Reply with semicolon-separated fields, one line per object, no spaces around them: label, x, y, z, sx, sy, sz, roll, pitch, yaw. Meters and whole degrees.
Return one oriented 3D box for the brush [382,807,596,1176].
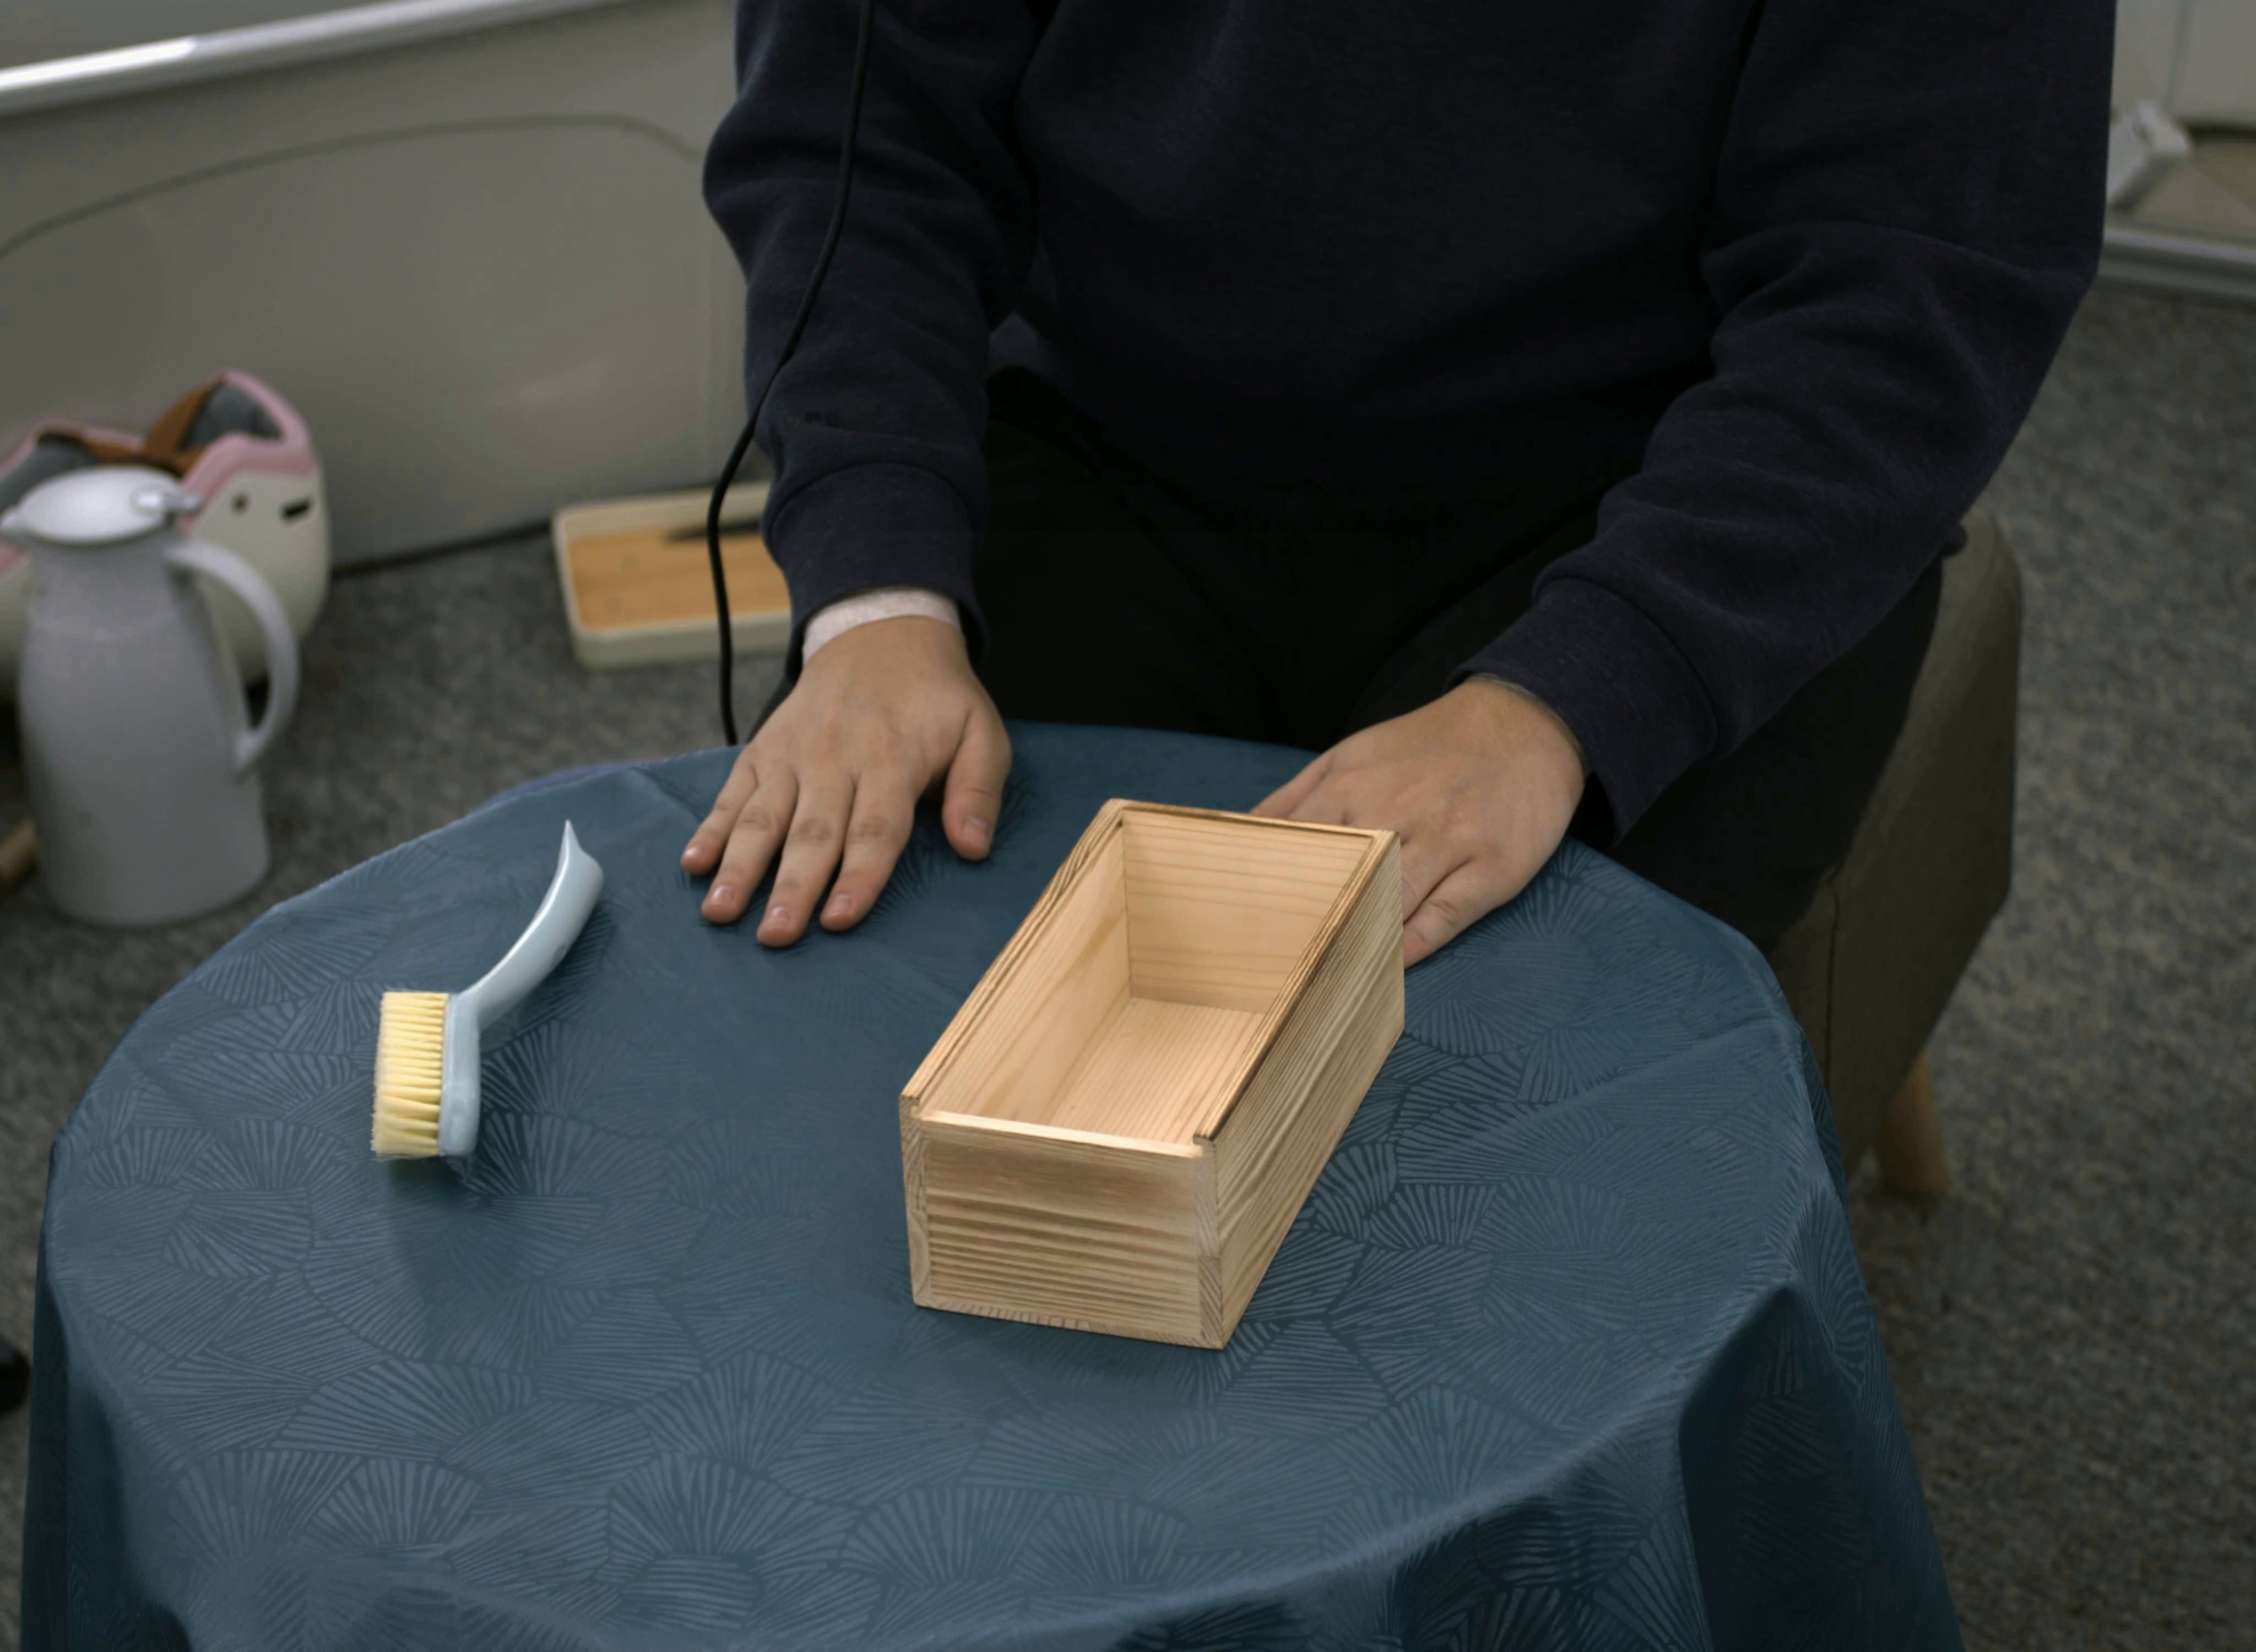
brush;-0.227;0.053;1.976;0.049;0.037;0.232;7;29;4

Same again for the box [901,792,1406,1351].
box;0.012;0.078;1.862;0.107;0.079;0.215;6;29;17
